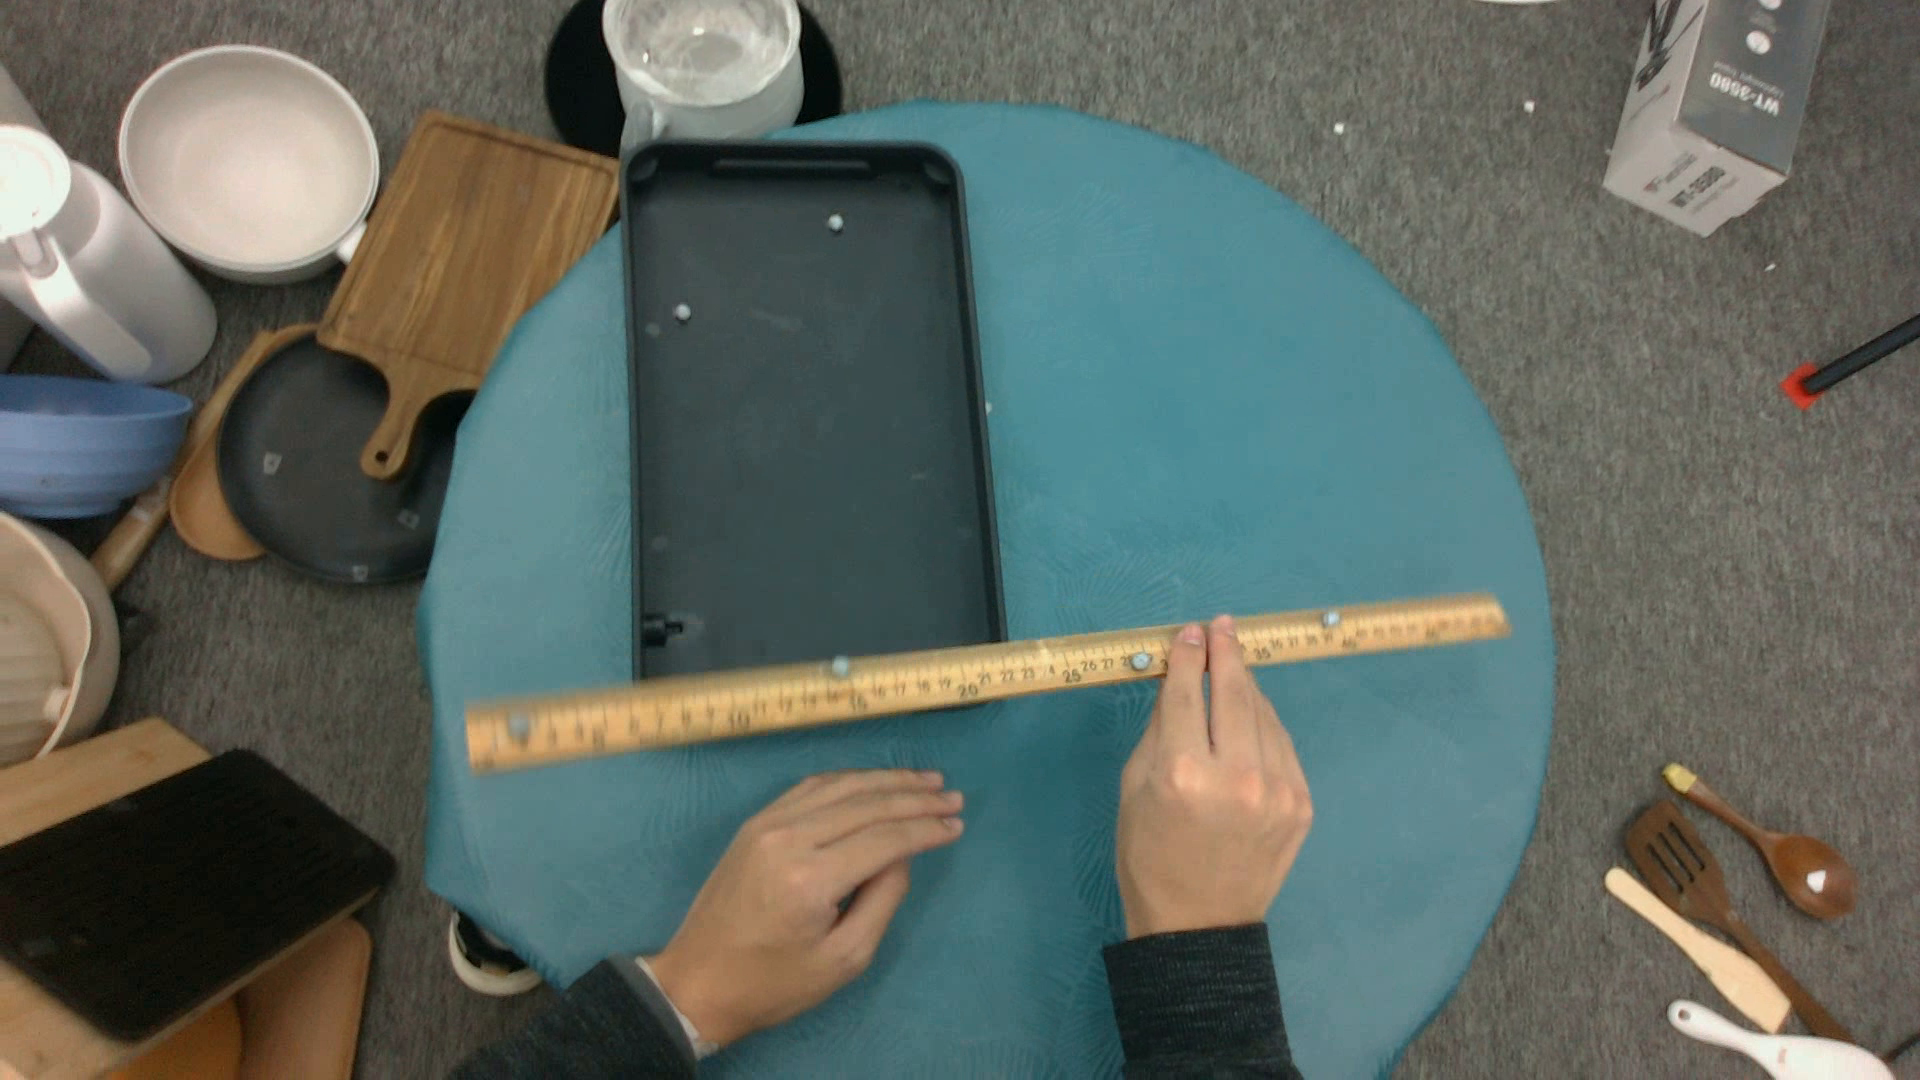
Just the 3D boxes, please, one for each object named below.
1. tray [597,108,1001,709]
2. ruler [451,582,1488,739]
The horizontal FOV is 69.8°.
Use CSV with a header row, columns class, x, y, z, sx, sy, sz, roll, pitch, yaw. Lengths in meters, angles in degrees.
class,x,y,z,sx,sy,sz,roll,pitch,yaw
tray,-0.087,-0.074,0.717,0.184,0.037,0.318,-4,76,-10
ruler,0.040,0.048,0.614,0.501,0.006,0.027,-4,60,-23
